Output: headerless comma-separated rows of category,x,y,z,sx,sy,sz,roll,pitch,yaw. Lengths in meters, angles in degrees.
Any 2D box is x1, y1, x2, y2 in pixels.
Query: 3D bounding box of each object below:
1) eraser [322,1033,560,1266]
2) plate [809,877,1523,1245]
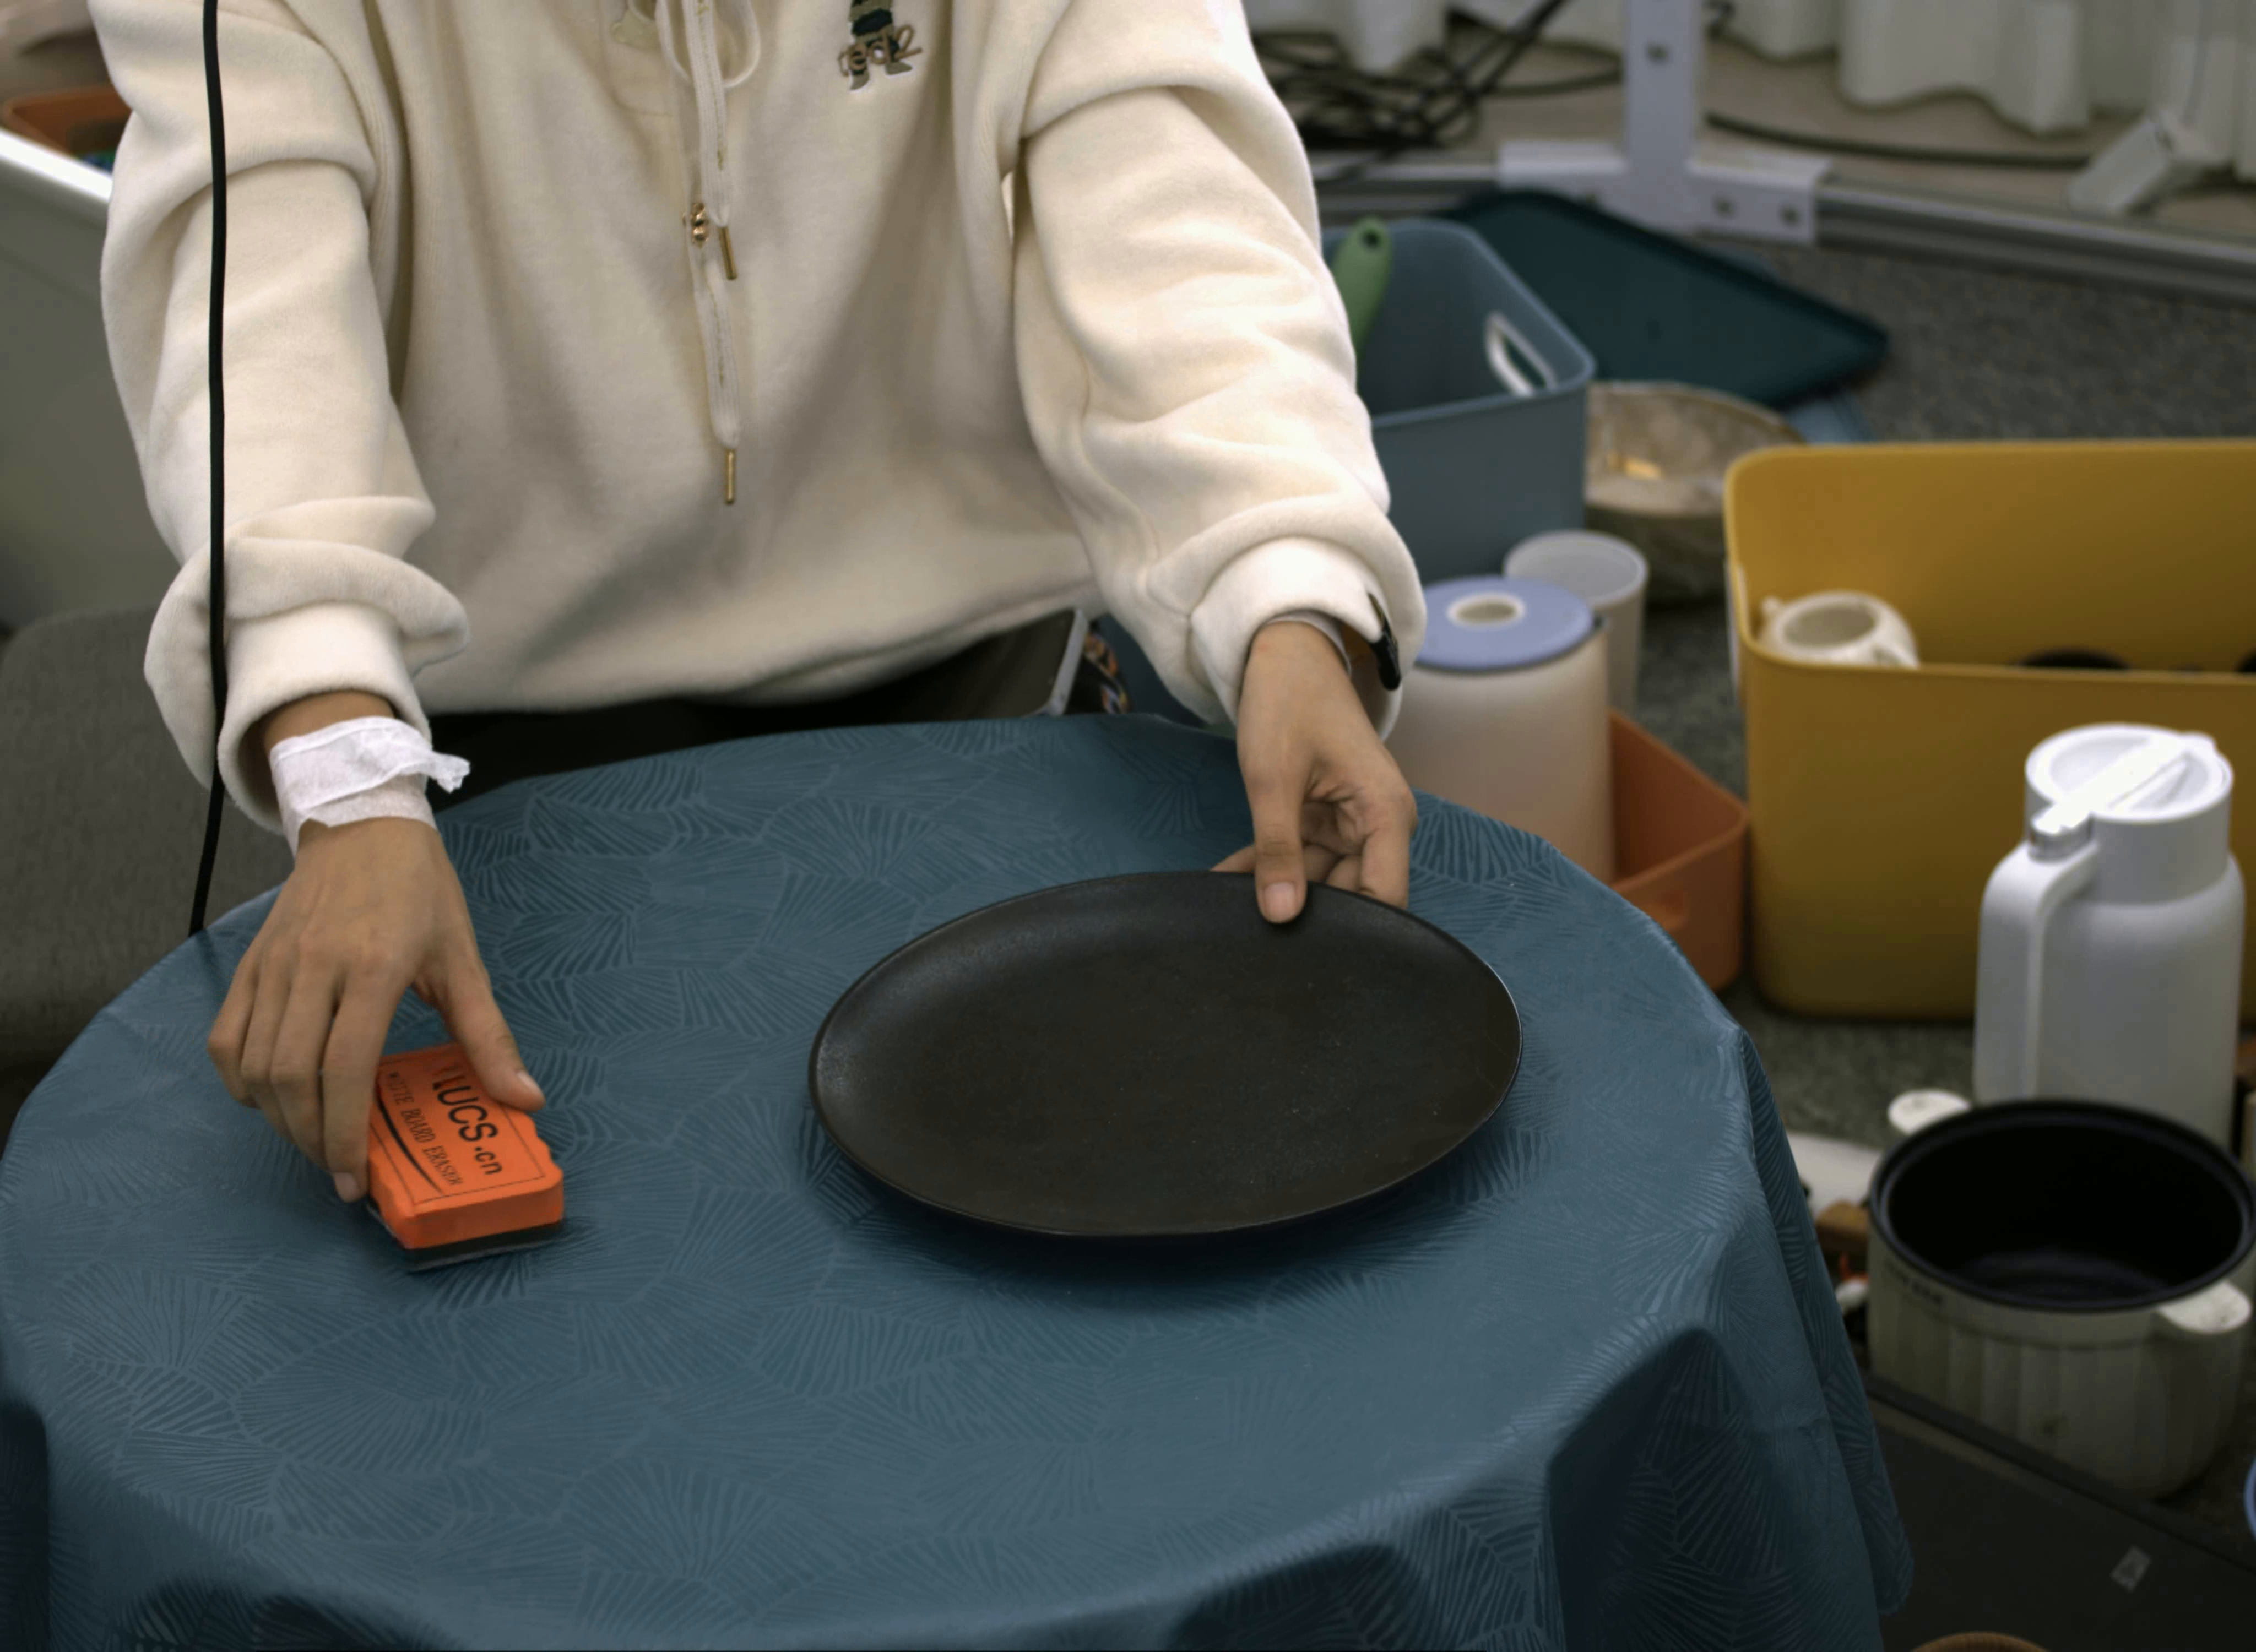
eraser,-0.230,0.108,1.877,0.059,0.022,0.109,-10,30,-19
plate,0.013,0.084,1.908,0.243,0.023,0.248,-2,27,2
